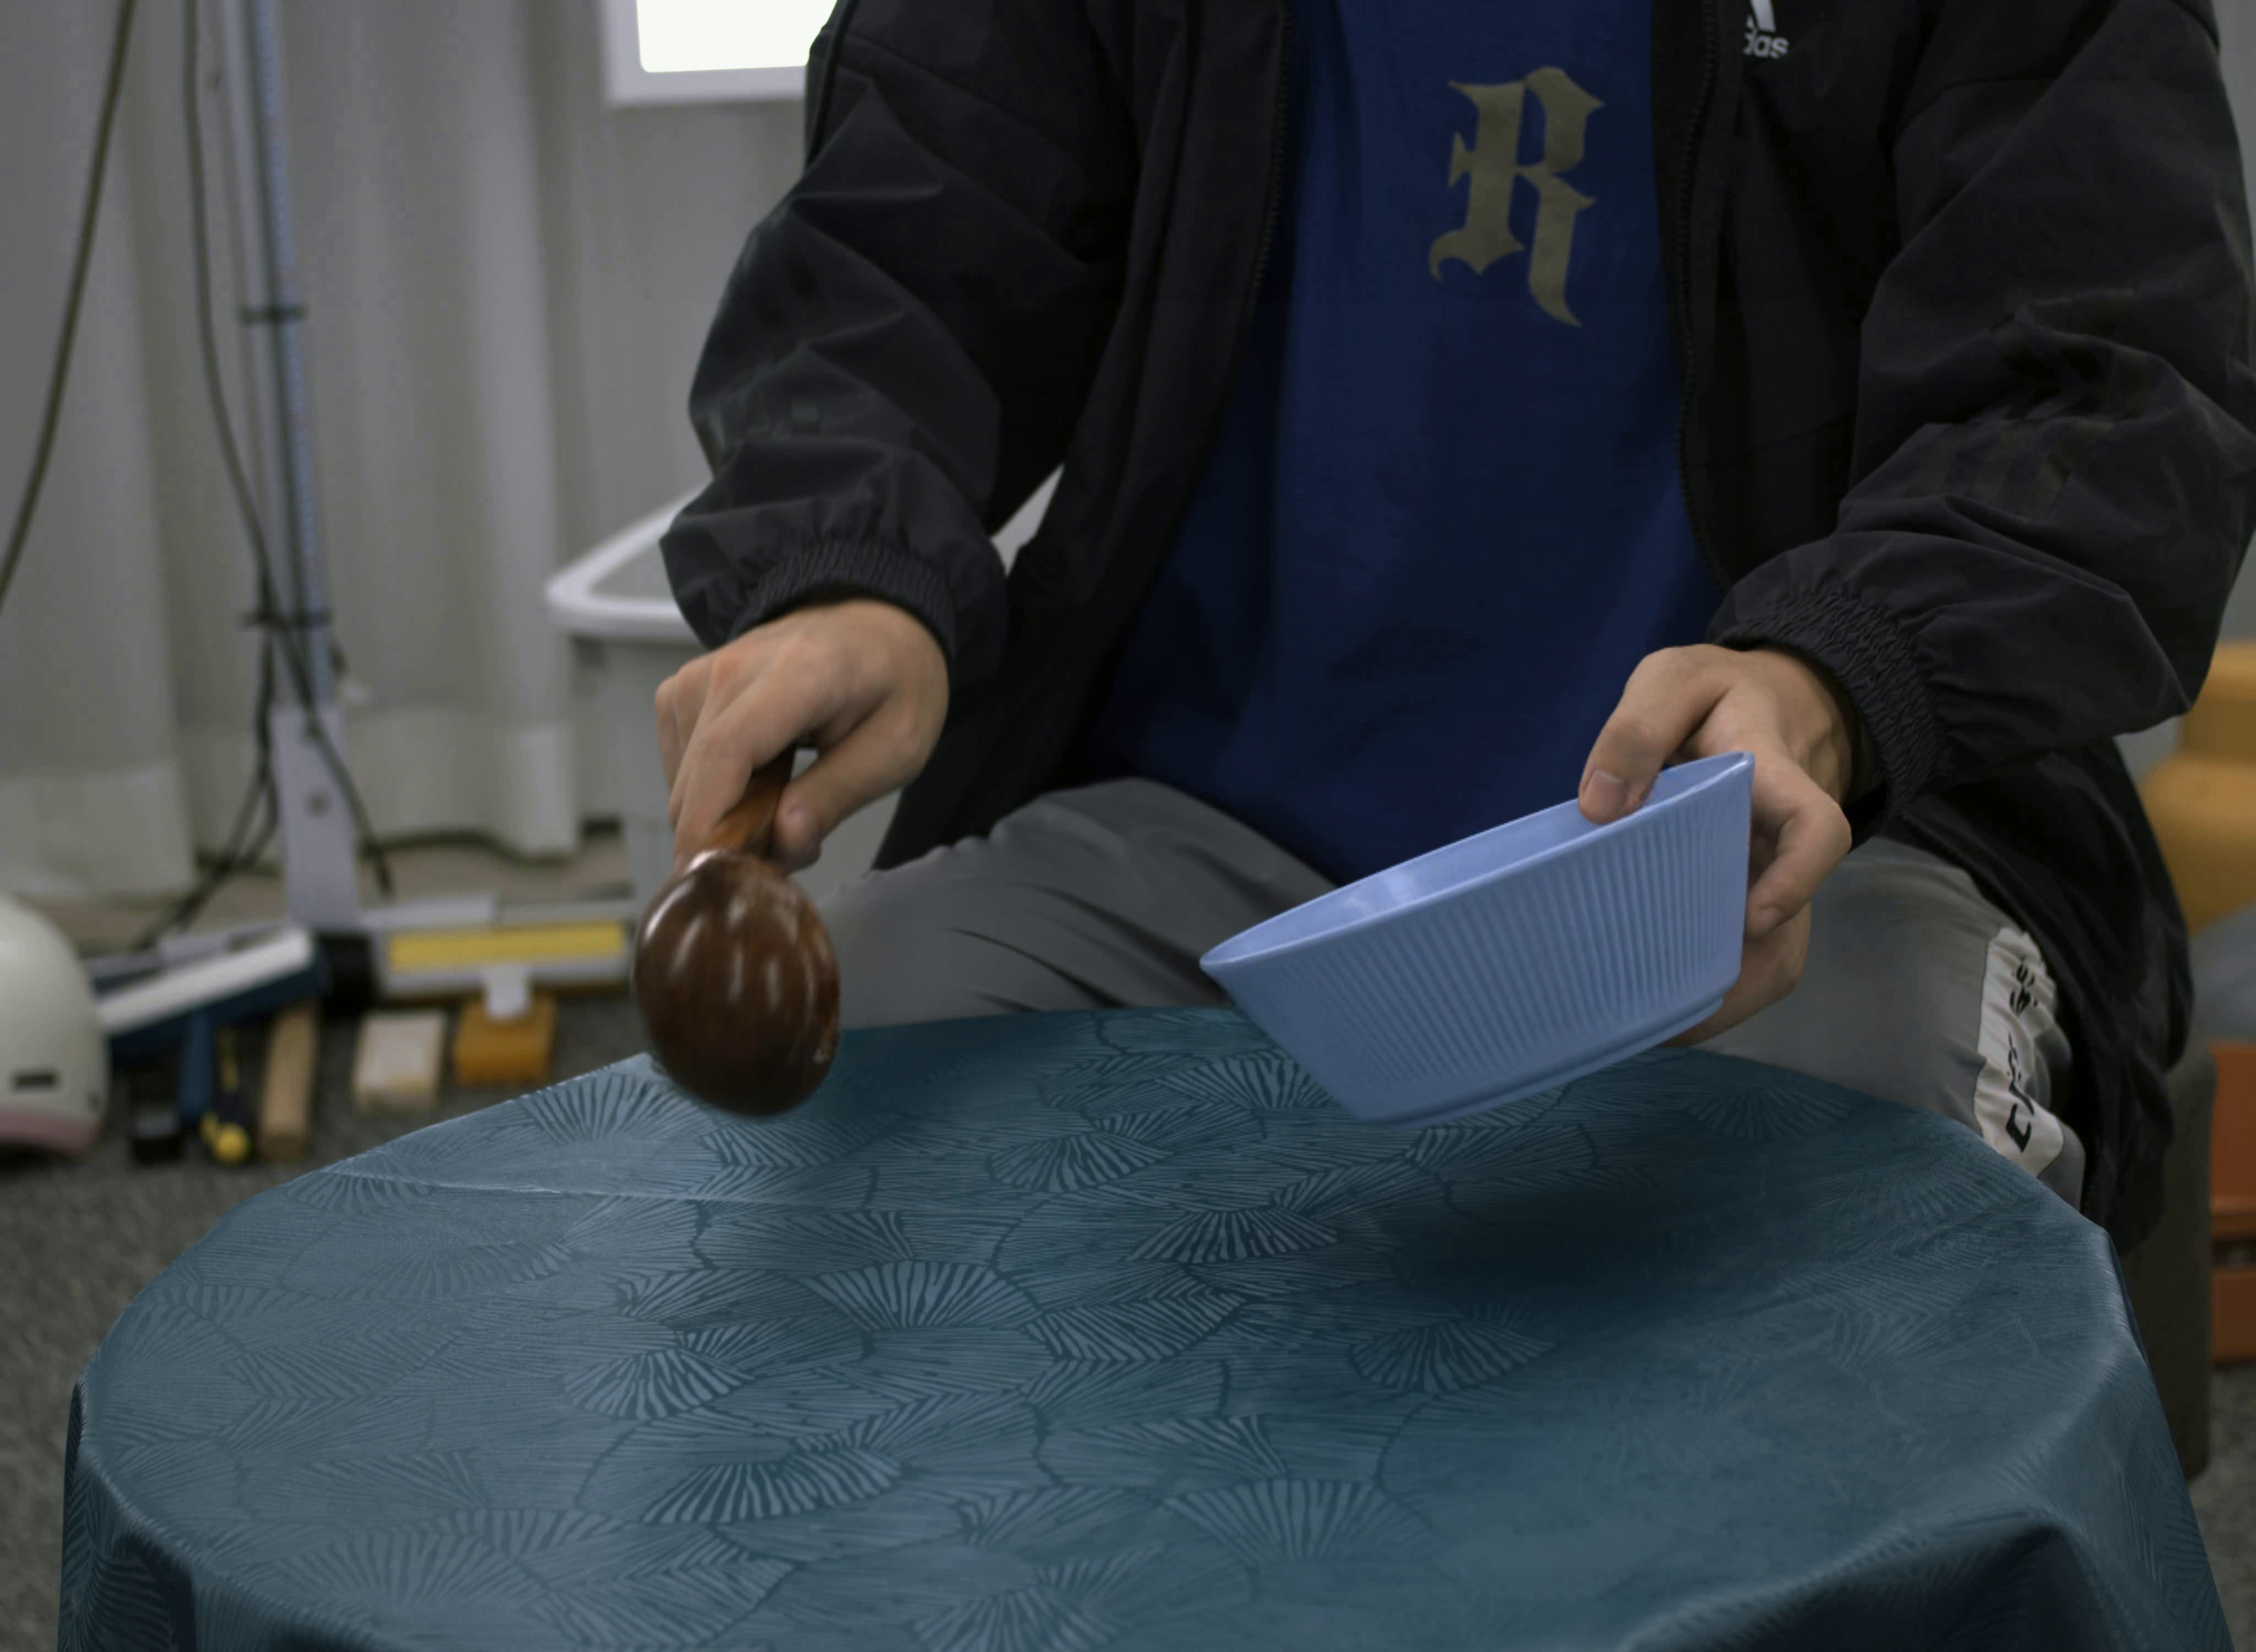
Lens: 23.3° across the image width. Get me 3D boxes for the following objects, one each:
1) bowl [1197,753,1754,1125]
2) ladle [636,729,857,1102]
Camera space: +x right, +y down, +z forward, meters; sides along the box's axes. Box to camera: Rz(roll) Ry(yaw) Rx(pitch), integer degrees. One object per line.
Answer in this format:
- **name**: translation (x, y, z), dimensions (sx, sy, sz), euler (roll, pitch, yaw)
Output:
- **bowl**: translation (0.113, 0.038, 1.620), dimensions (0.175, 0.070, 0.176), euler (-21, 1, 0)
- **ladle**: translation (-0.103, 0.015, 1.740), dimensions (0.076, 0.081, 0.275), euler (16, 15, 3)
